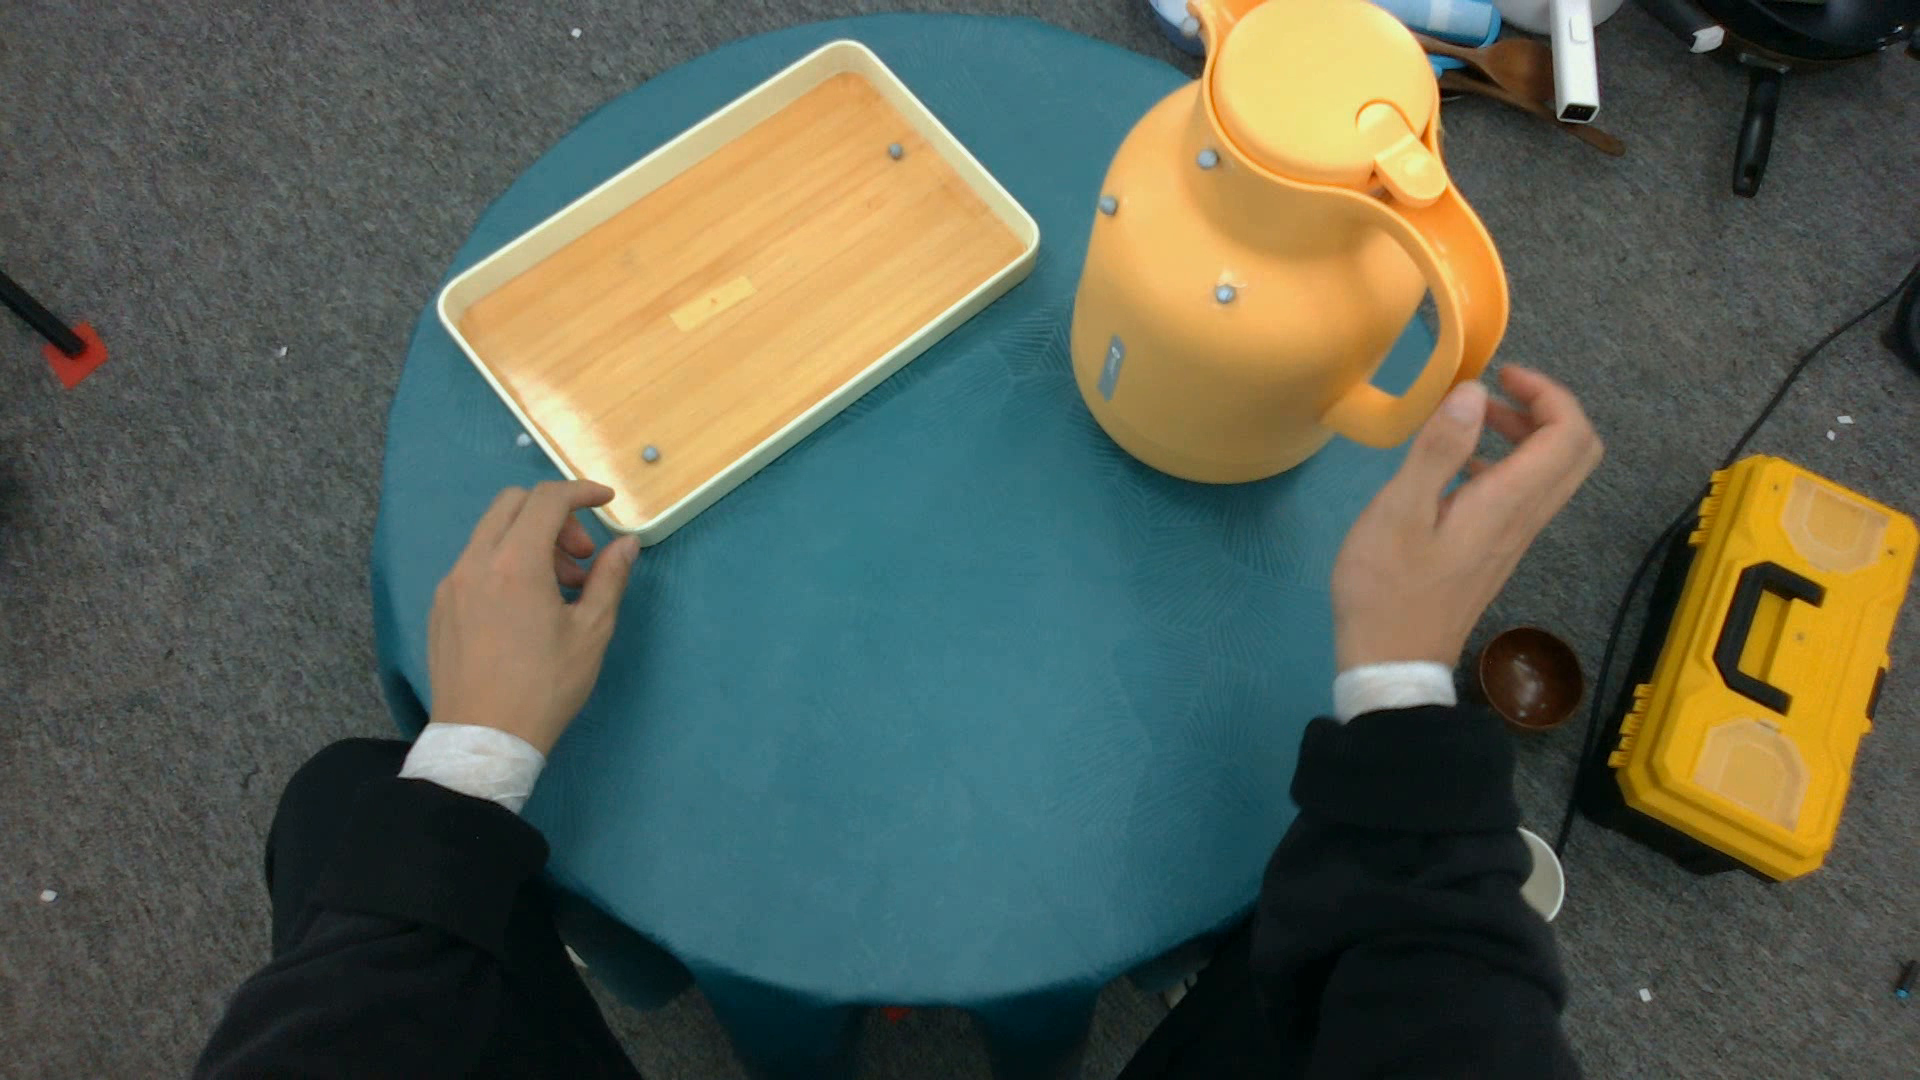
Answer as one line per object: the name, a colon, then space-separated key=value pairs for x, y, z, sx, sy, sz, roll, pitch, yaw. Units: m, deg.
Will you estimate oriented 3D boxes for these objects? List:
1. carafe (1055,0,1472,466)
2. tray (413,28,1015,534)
carafe: x=0.144 y=-0.136 z=0.667 sx=0.164 sy=0.259 sz=0.202 roll=-32 pitch=72 yaw=-11
tray: x=-0.135 y=-0.156 z=0.787 sx=0.301 sy=0.027 sz=0.192 roll=-38 pitch=75 yaw=-15
